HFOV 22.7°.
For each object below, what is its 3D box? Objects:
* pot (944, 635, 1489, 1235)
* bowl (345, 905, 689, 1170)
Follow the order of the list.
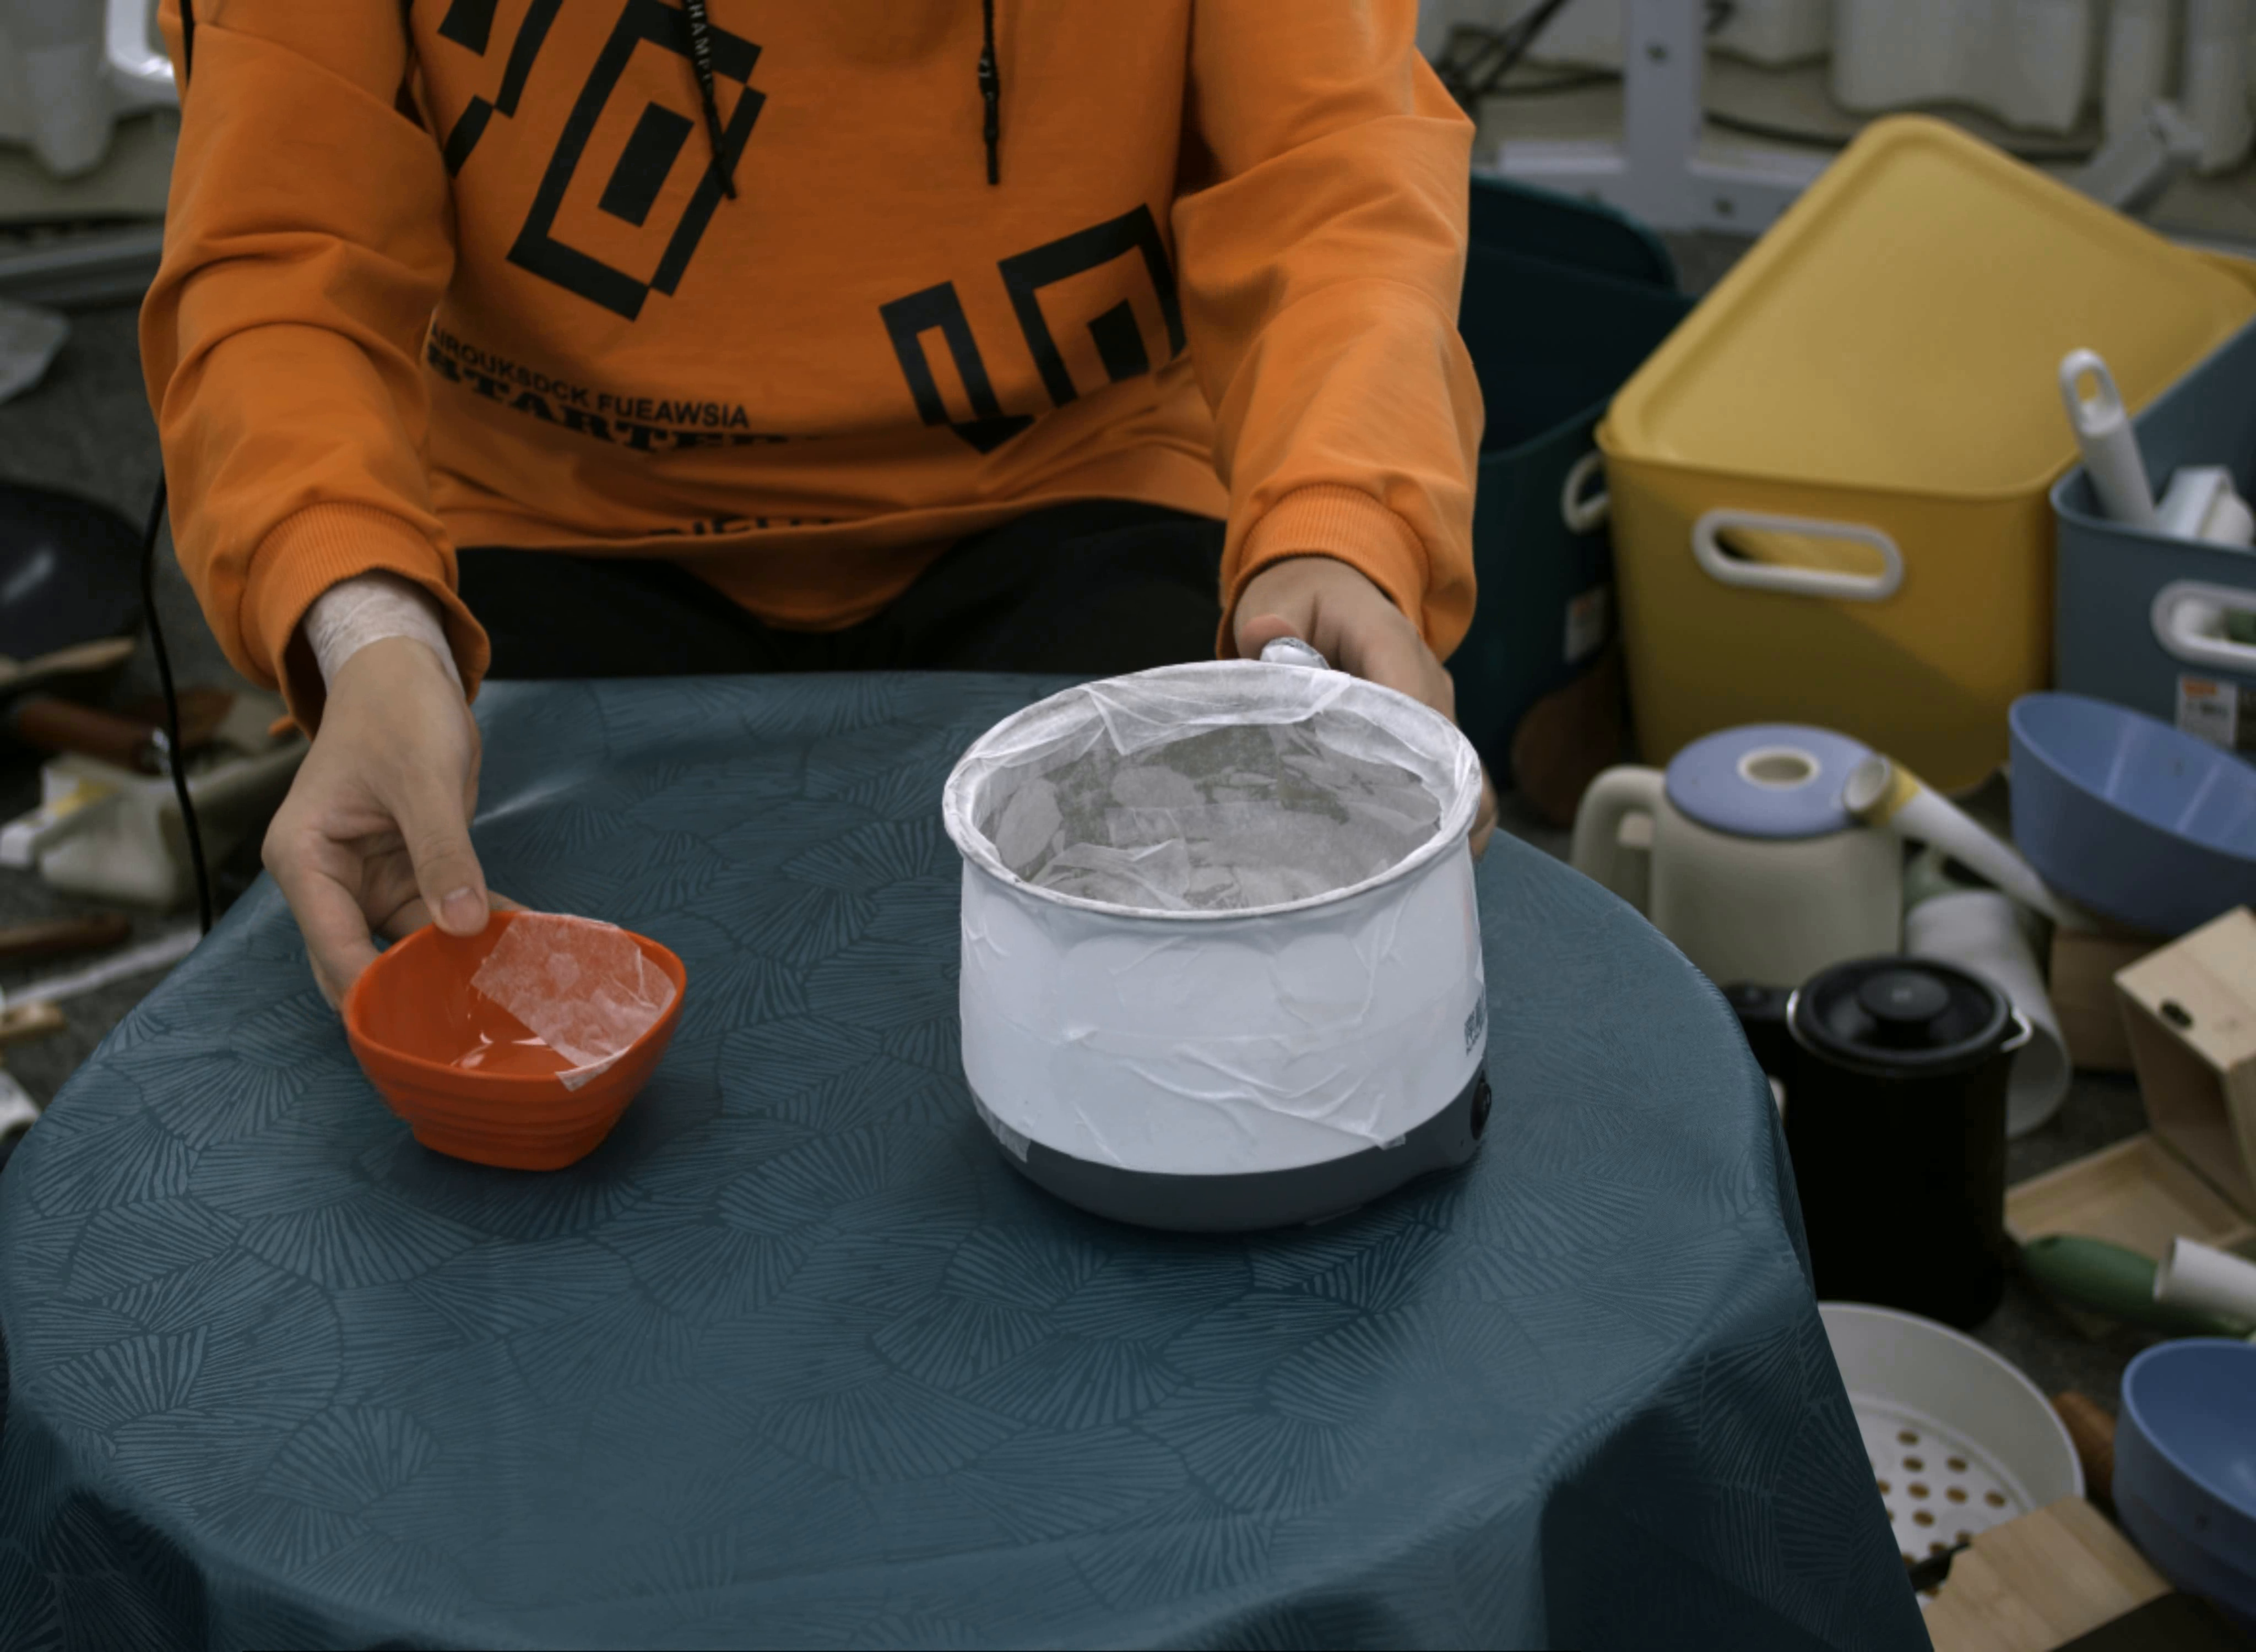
[{"bbox_3d":[0.038,0.029,1.890,0.177,0.135,0.238,4,28,13],"label":"pot"},{"bbox_3d":[-0.206,0.077,1.908,0.118,0.051,0.121,1,28,0],"label":"bowl"}]
